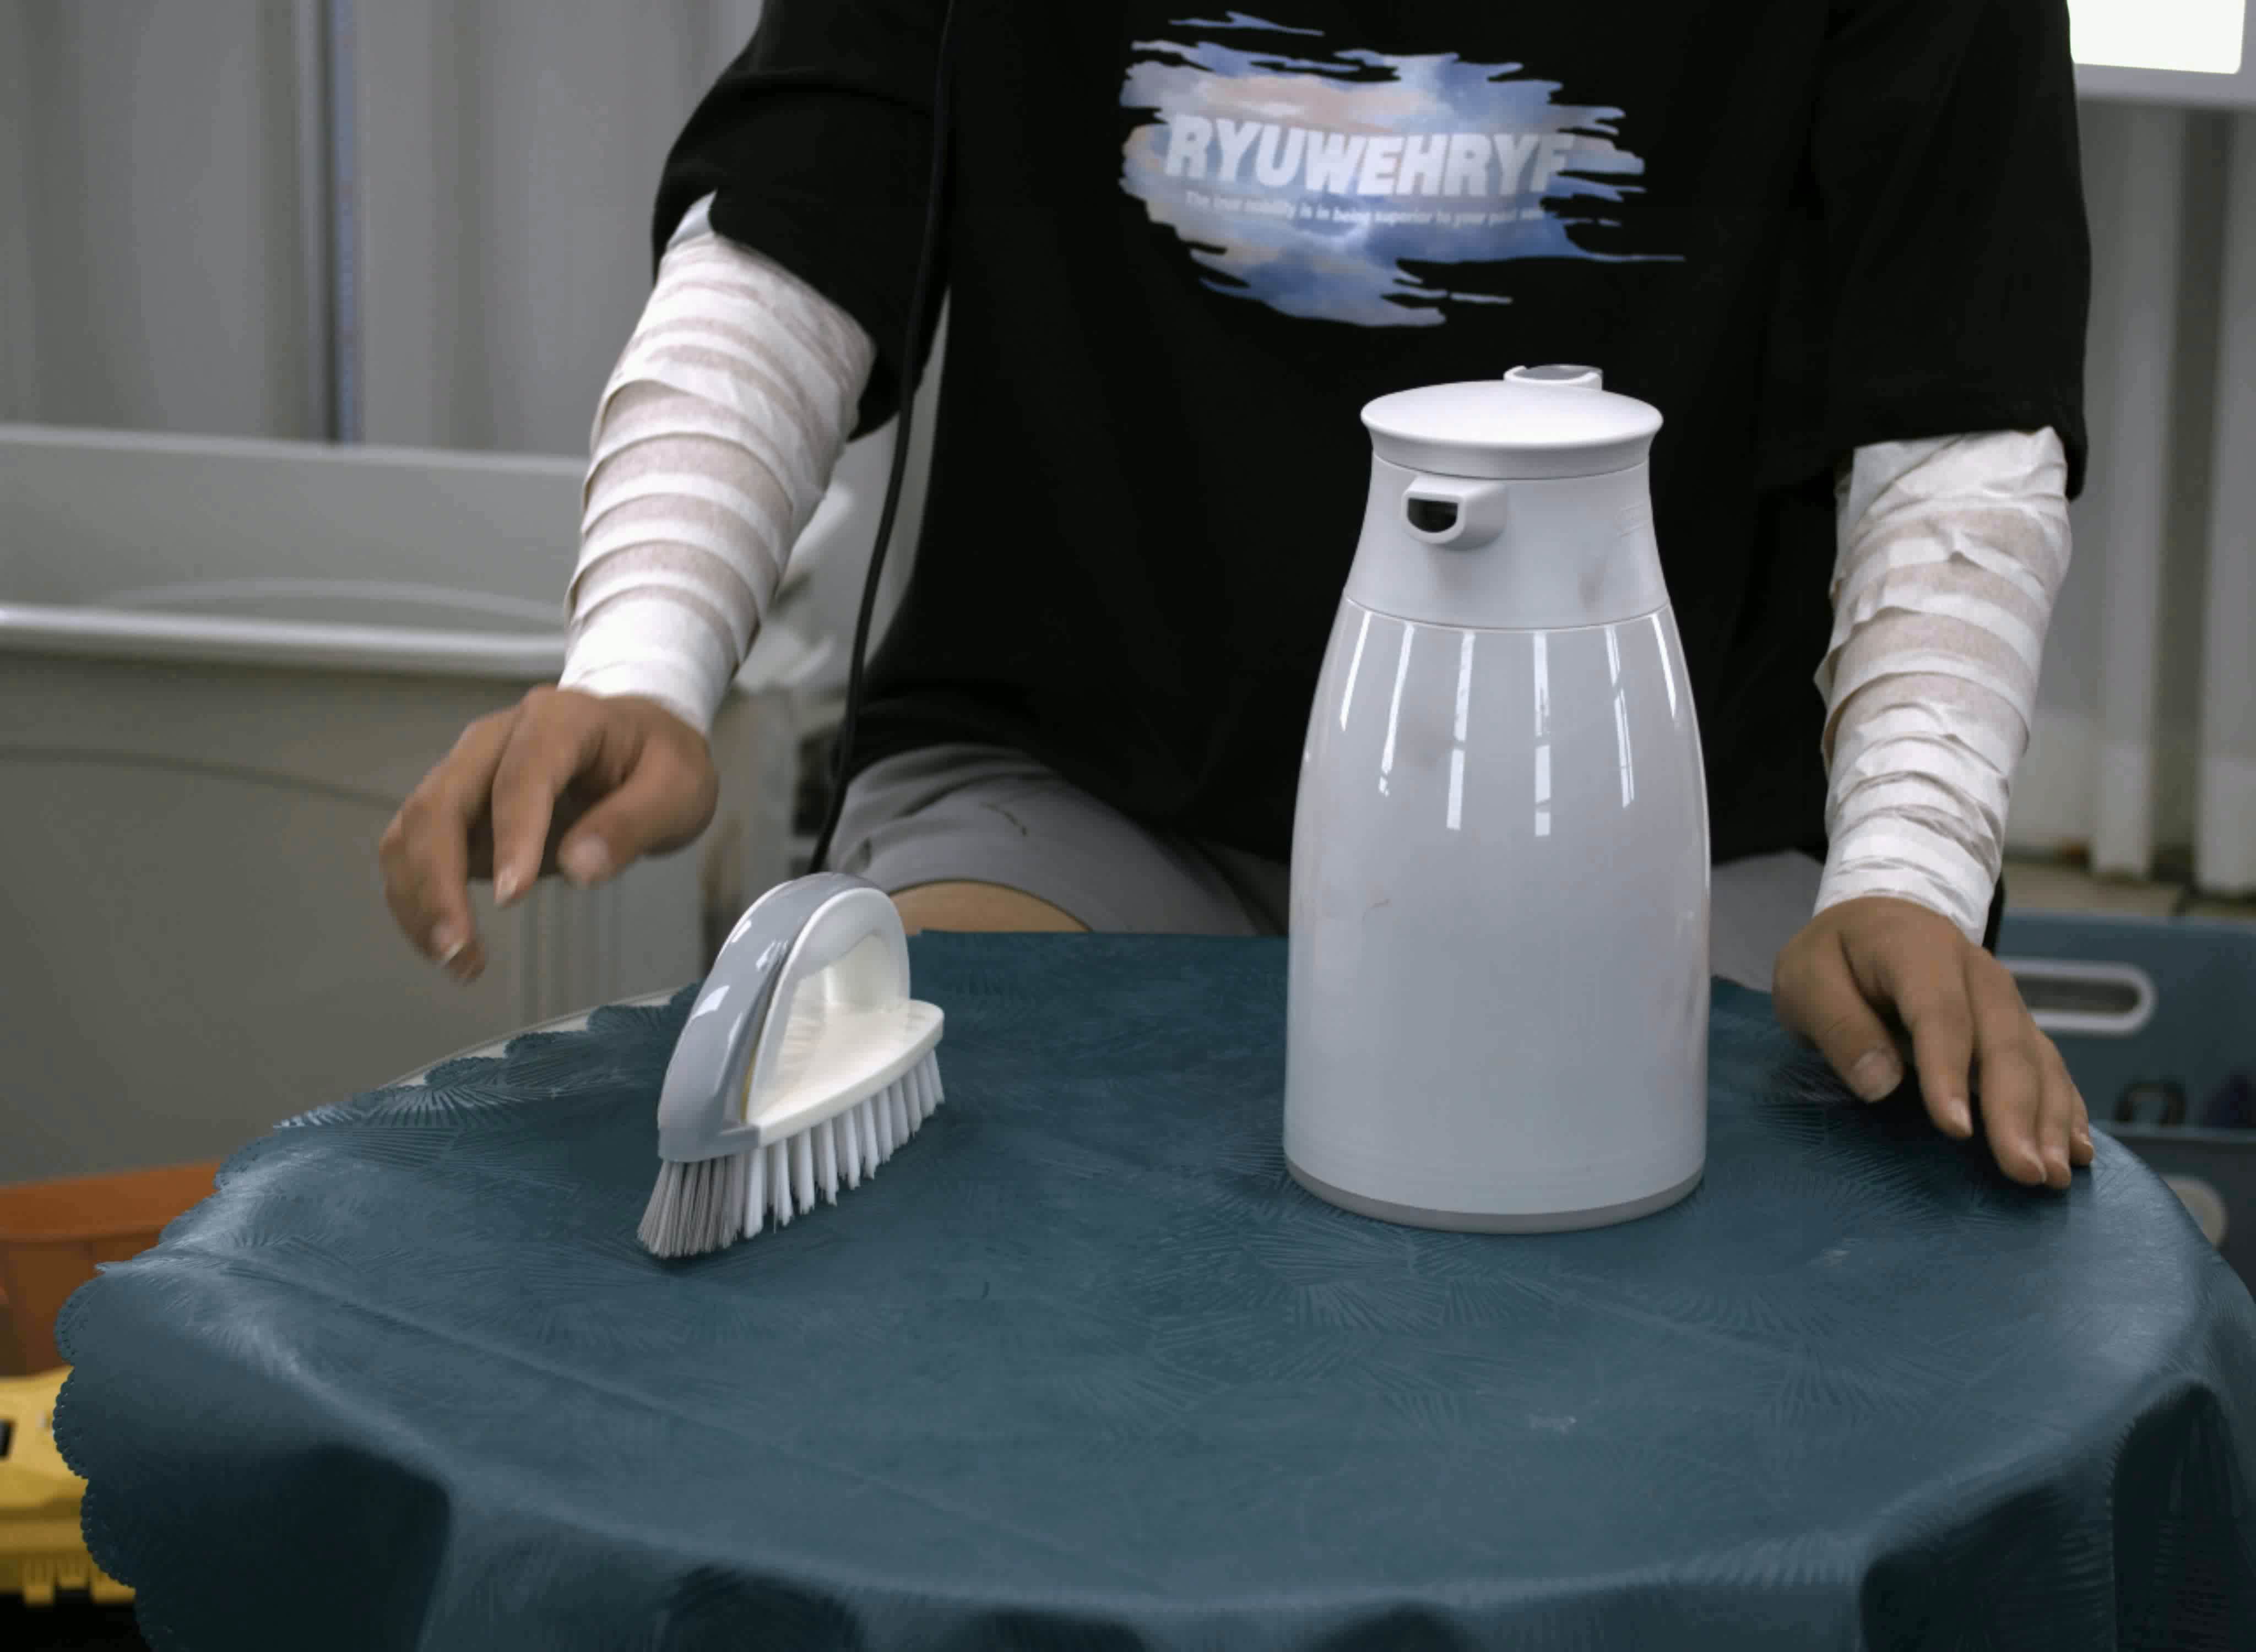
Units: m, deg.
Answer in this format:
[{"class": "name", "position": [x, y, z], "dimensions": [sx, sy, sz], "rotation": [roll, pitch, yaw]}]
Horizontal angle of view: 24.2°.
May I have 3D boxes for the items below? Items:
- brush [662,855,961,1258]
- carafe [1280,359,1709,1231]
[{"class": "brush", "position": [-0.105, 0.065, 1.617], "dimensions": [0.061, 0.095, 0.175], "rotation": [3, 17, 19]}, {"class": "carafe", "position": [0.121, -0.018, 1.634], "dimensions": [0.131, 0.250, 0.168], "rotation": [7, 16, 23]}]
